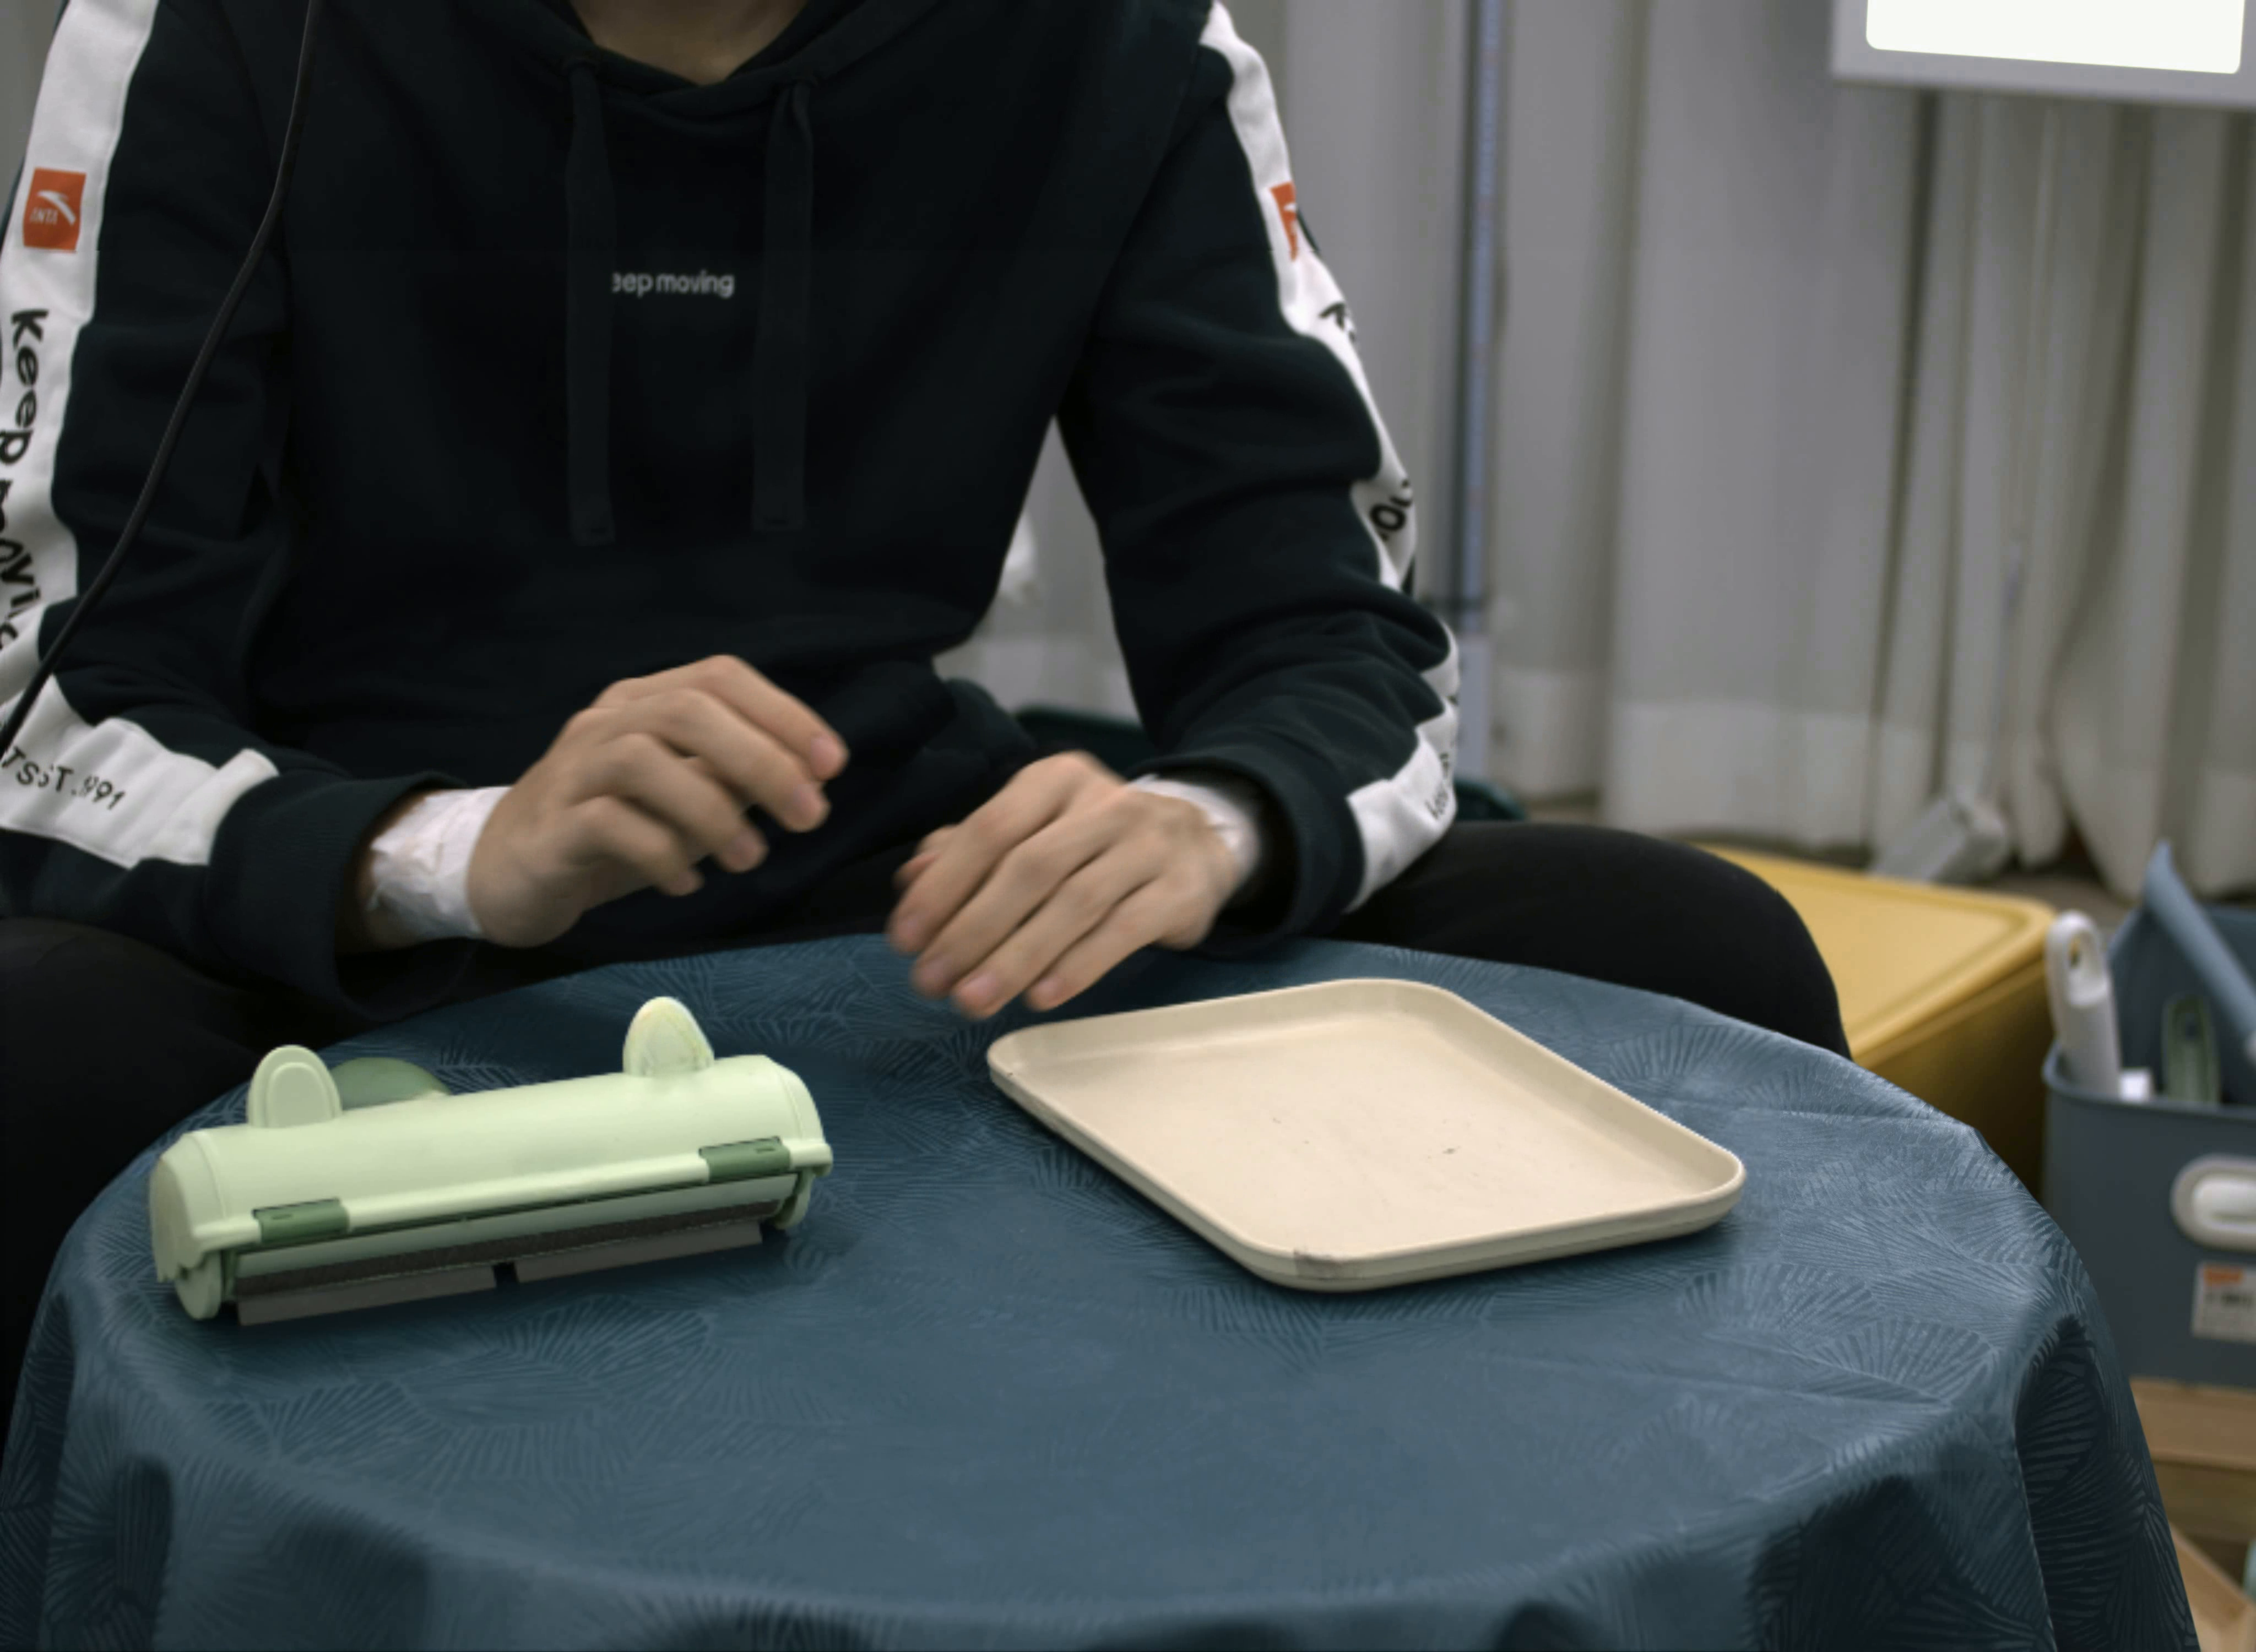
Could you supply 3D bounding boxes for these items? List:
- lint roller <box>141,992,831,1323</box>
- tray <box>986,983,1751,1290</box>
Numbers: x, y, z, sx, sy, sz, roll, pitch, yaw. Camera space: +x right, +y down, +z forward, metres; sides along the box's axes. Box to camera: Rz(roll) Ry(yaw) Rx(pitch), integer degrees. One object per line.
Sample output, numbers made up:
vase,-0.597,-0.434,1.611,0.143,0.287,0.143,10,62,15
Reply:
lint roller,-0.210,0.081,1.582,0.199,0.083,0.181,-7,21,-25
tray,0.071,0.096,1.649,0.172,0.017,0.237,-6,17,-26
